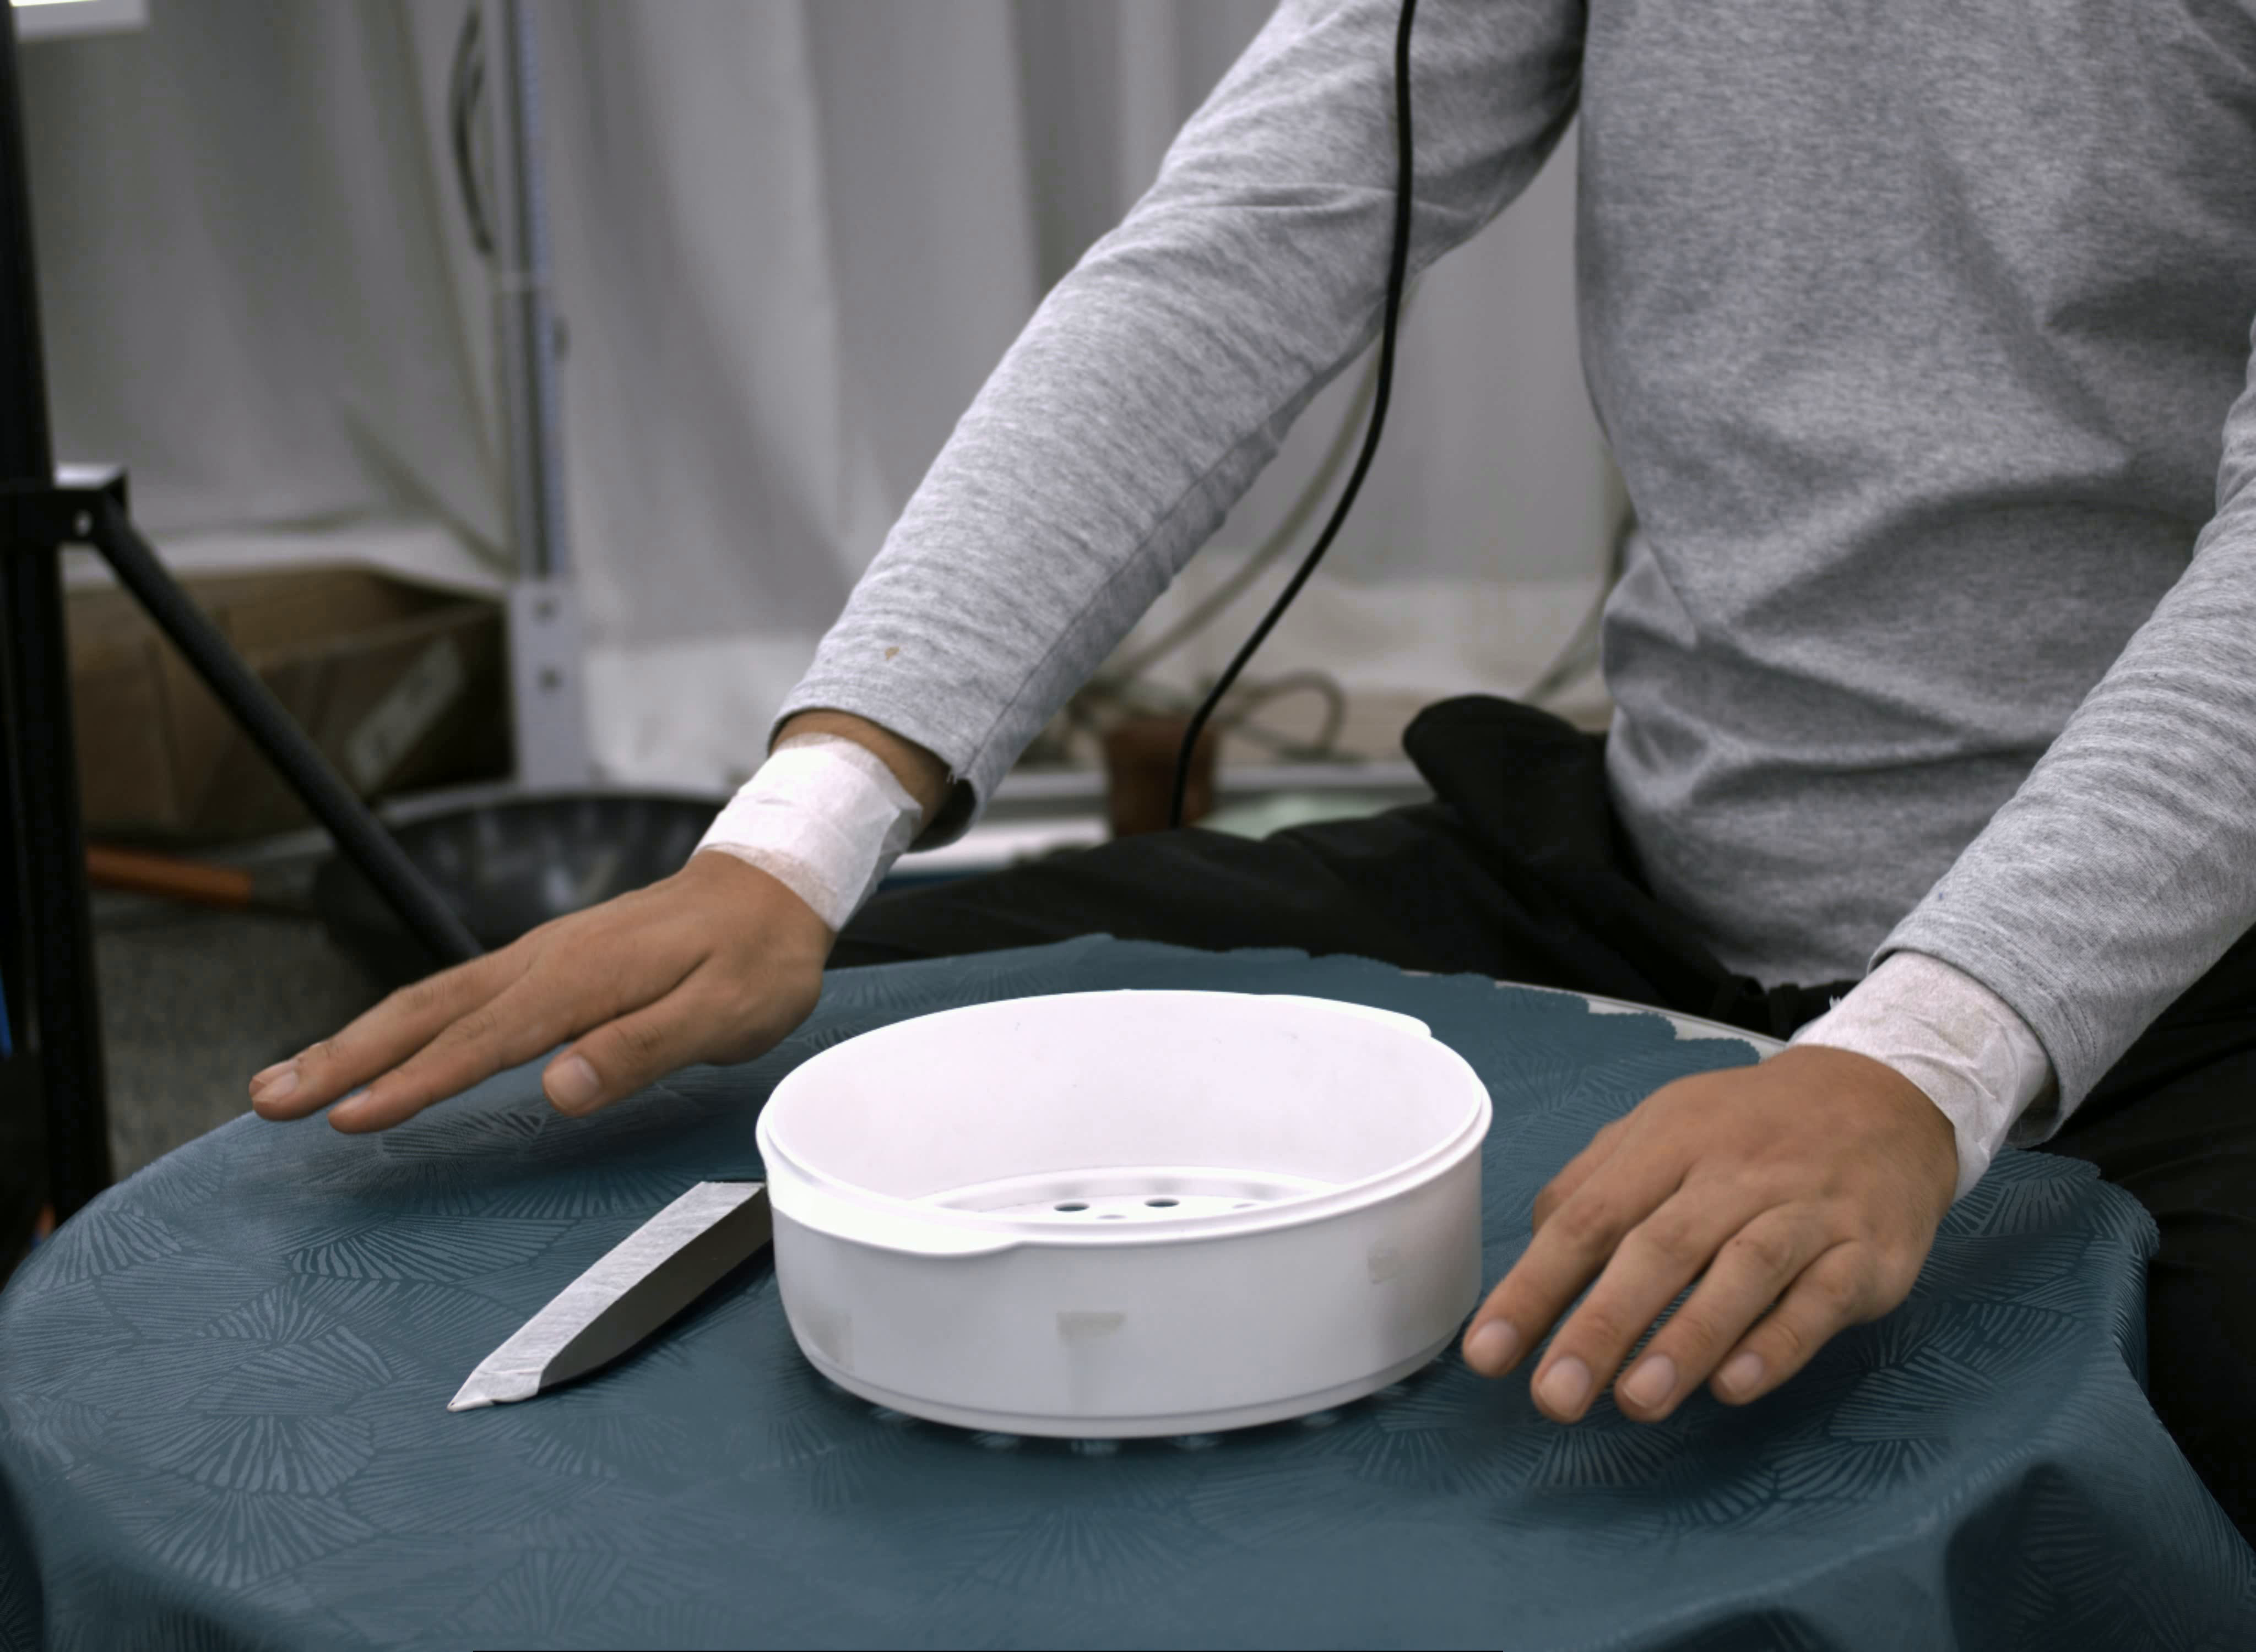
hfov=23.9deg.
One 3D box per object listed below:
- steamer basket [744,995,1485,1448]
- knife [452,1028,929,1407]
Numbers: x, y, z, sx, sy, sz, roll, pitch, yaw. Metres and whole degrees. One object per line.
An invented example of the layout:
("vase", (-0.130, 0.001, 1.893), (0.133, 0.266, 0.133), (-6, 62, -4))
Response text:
("steamer basket", (-0.003, 0.107, 1.443), (0.206, 0.069, 0.226), (10, 19, 36))
("knife", (-0.113, 0.112, 1.537), (0.051, 0.020, 0.285), (1, 18, 27))
